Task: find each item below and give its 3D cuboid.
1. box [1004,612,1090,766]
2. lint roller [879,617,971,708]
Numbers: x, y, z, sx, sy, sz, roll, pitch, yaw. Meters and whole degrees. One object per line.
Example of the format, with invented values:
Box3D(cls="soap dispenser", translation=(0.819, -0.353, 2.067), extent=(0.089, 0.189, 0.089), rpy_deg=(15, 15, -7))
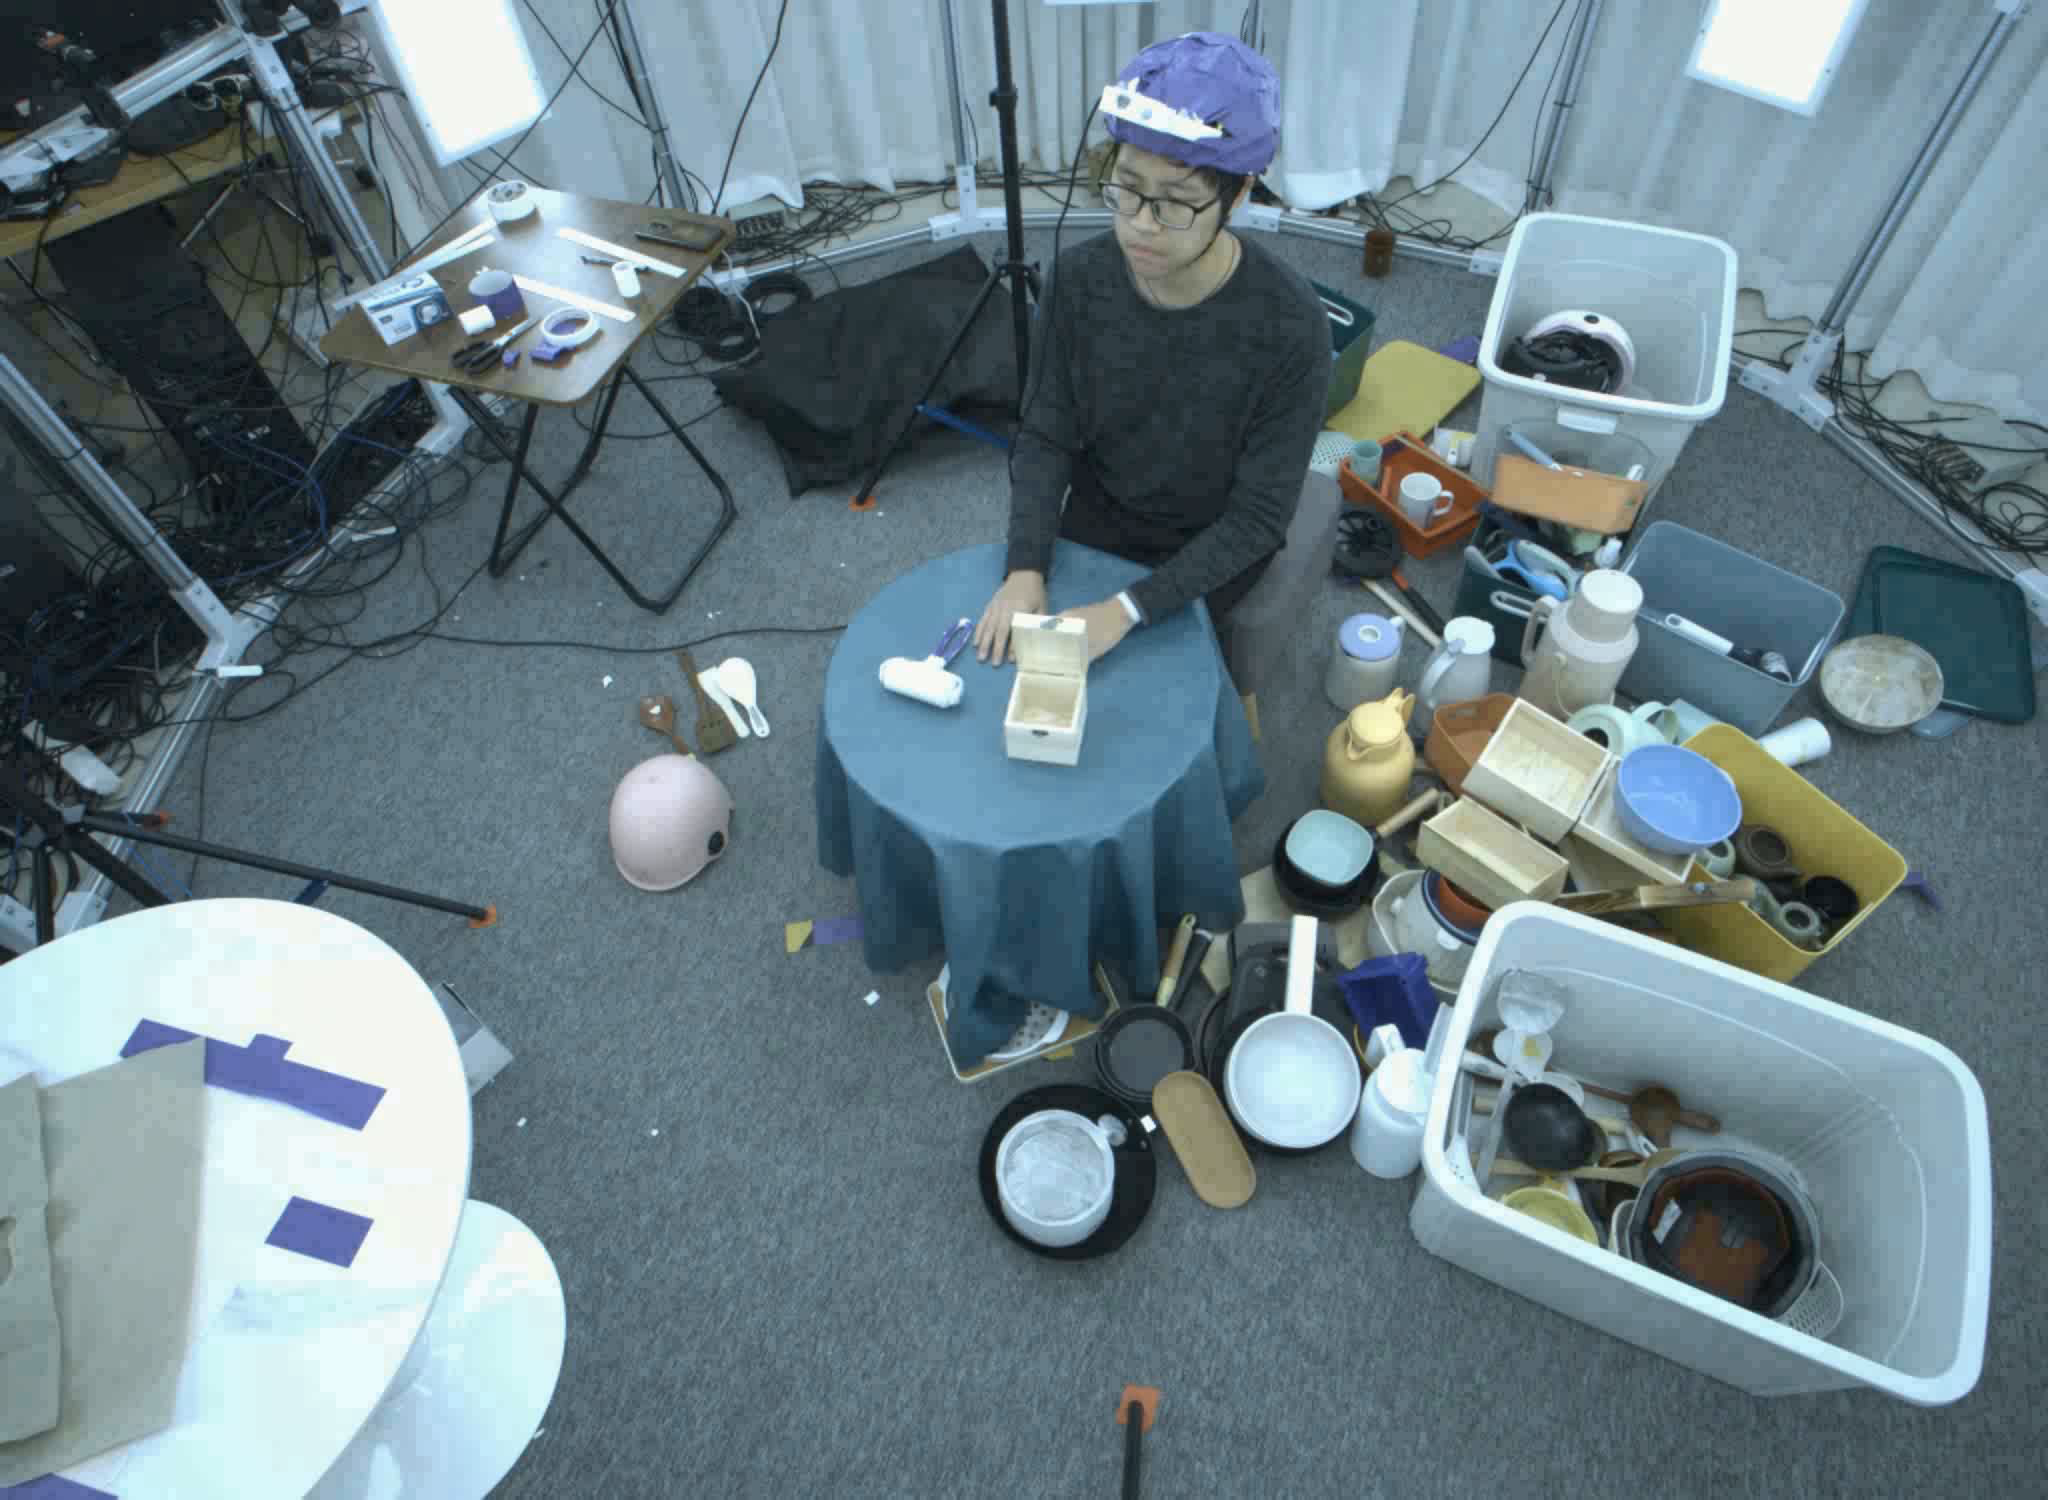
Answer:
Box3D(cls="box", translation=(0.032, -0.083, 1.733), extent=(0.102, 0.186, 0.133), rpy_deg=(7, 55, 9))
Box3D(cls="lint roller", translation=(-0.128, -0.148, 1.867), extent=(0.131, 0.051, 0.181), rpy_deg=(20, 60, 17))
